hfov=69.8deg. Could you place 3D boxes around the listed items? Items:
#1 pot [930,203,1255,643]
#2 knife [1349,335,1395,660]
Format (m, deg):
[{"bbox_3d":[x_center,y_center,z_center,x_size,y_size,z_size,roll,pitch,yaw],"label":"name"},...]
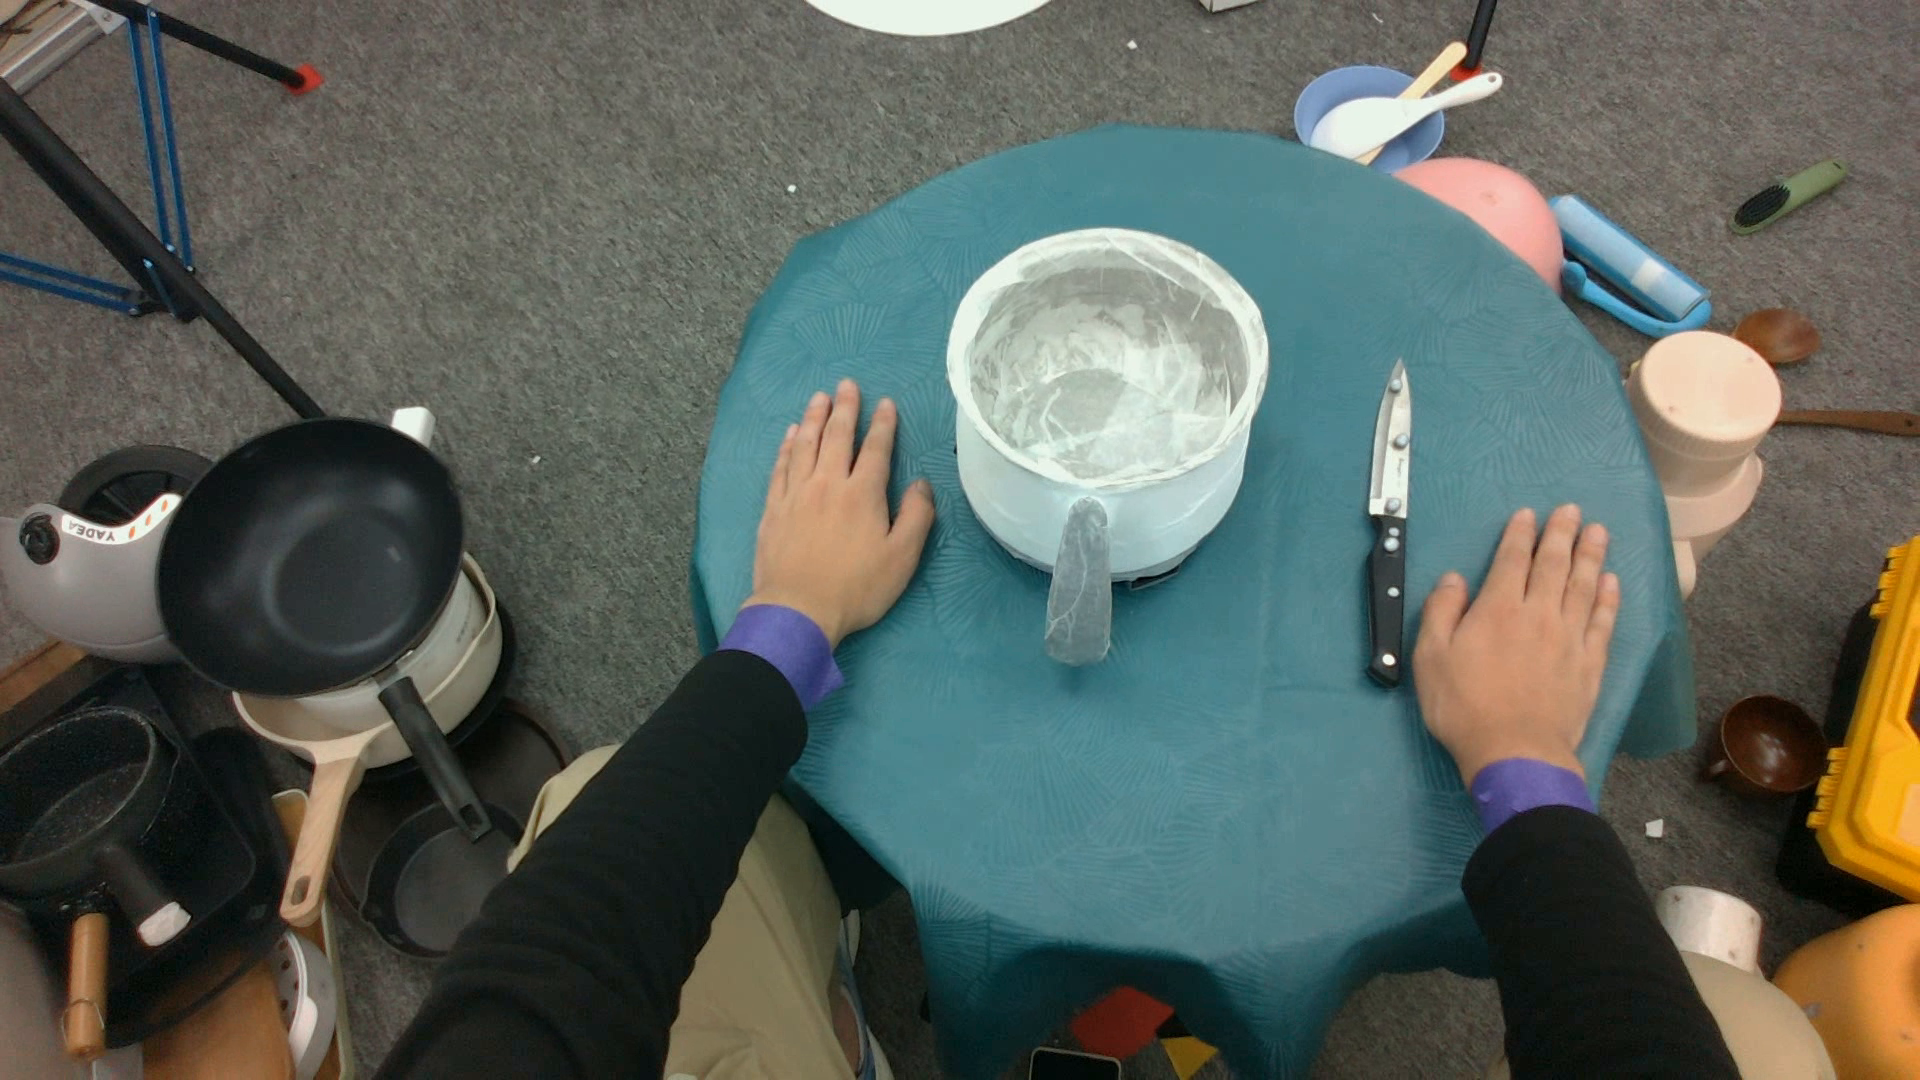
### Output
[{"bbox_3d":[0.072,-0.064,0.797,0.178,0.136,0.234,4,61,6],"label":"pot"},{"bbox_3d":[0.255,-0.033,0.847,0.024,0.016,0.239,7,60,8],"label":"knife"}]
